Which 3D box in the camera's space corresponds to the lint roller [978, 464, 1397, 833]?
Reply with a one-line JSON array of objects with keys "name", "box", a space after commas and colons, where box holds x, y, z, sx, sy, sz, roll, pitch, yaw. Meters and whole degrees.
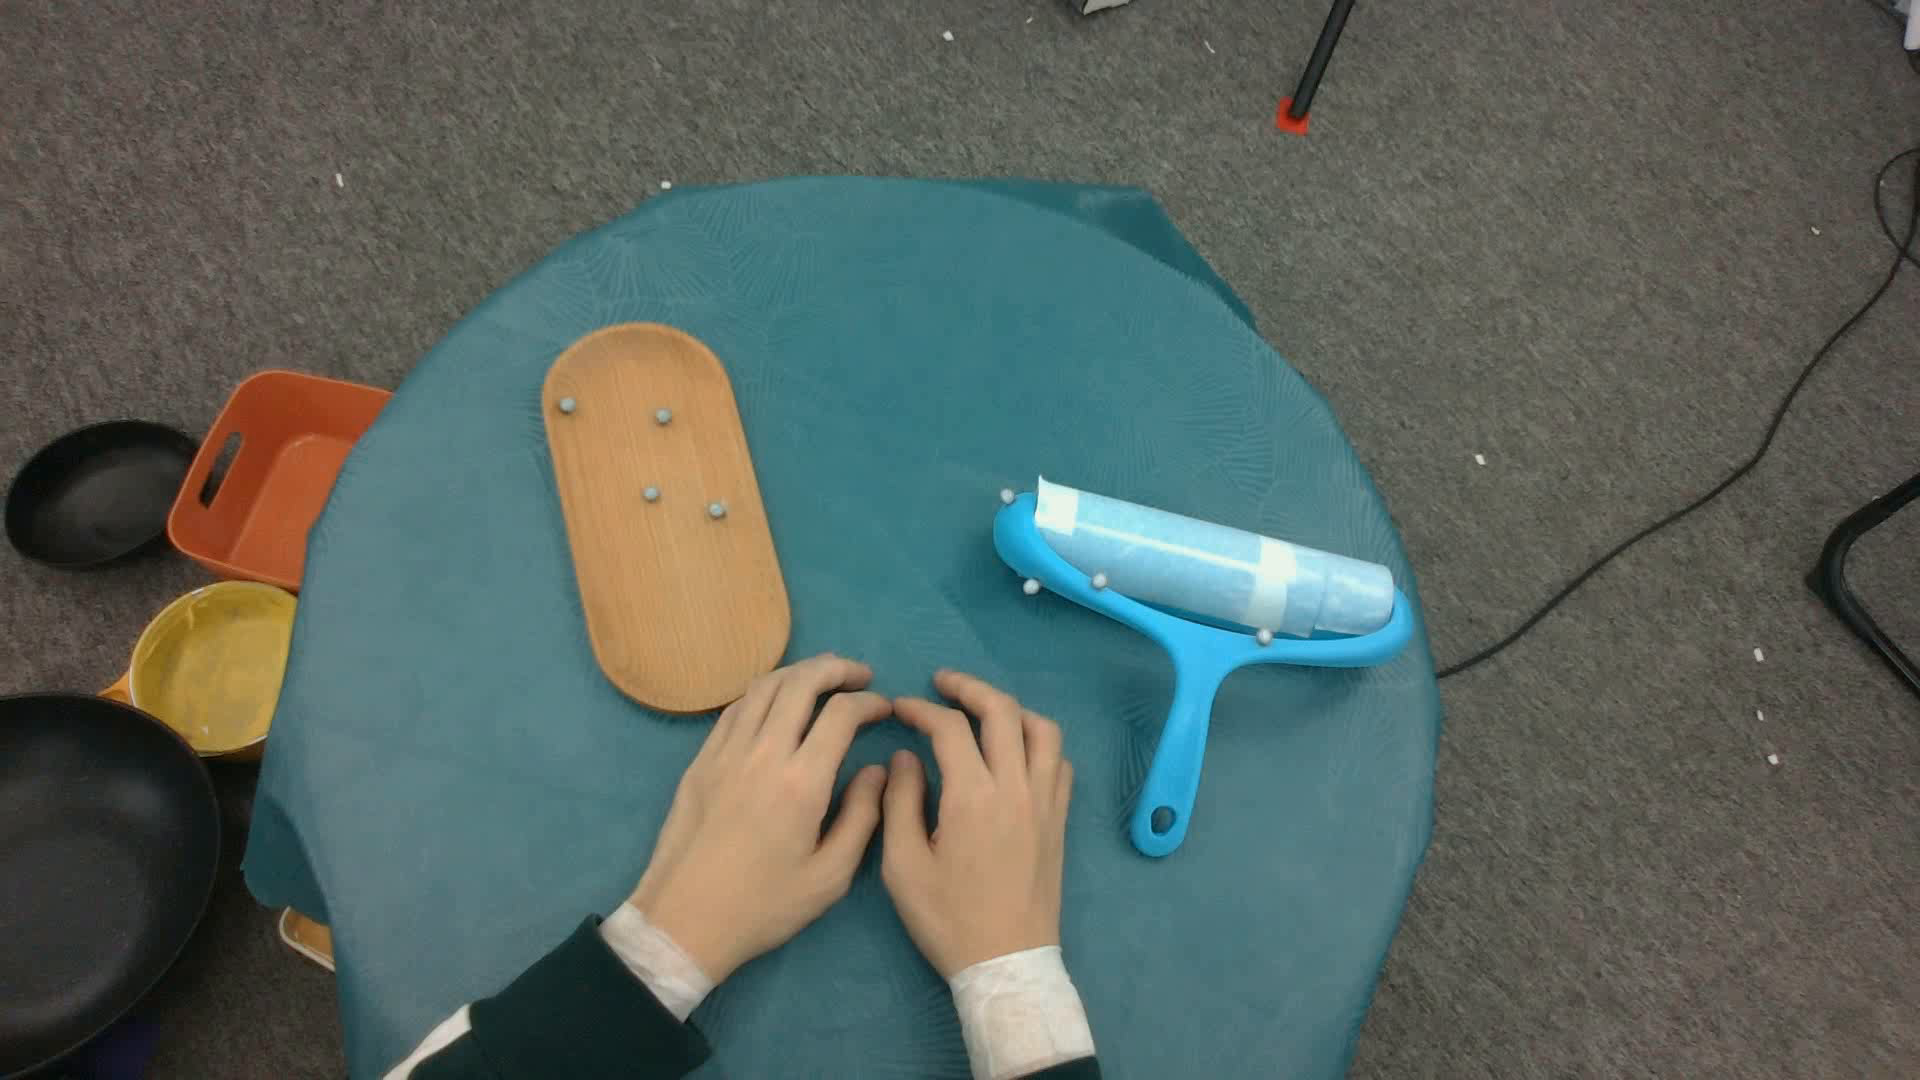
[{"name": "lint roller", "box": [0.115, 0.057, 0.711, 0.229, 0.067, 0.181, 11, 62, -5]}]

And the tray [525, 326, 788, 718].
[{"name": "tray", "box": [-0.162, -0.014, 0.727, 0.102, 0.020, 0.231, -16, 69, -14]}]
